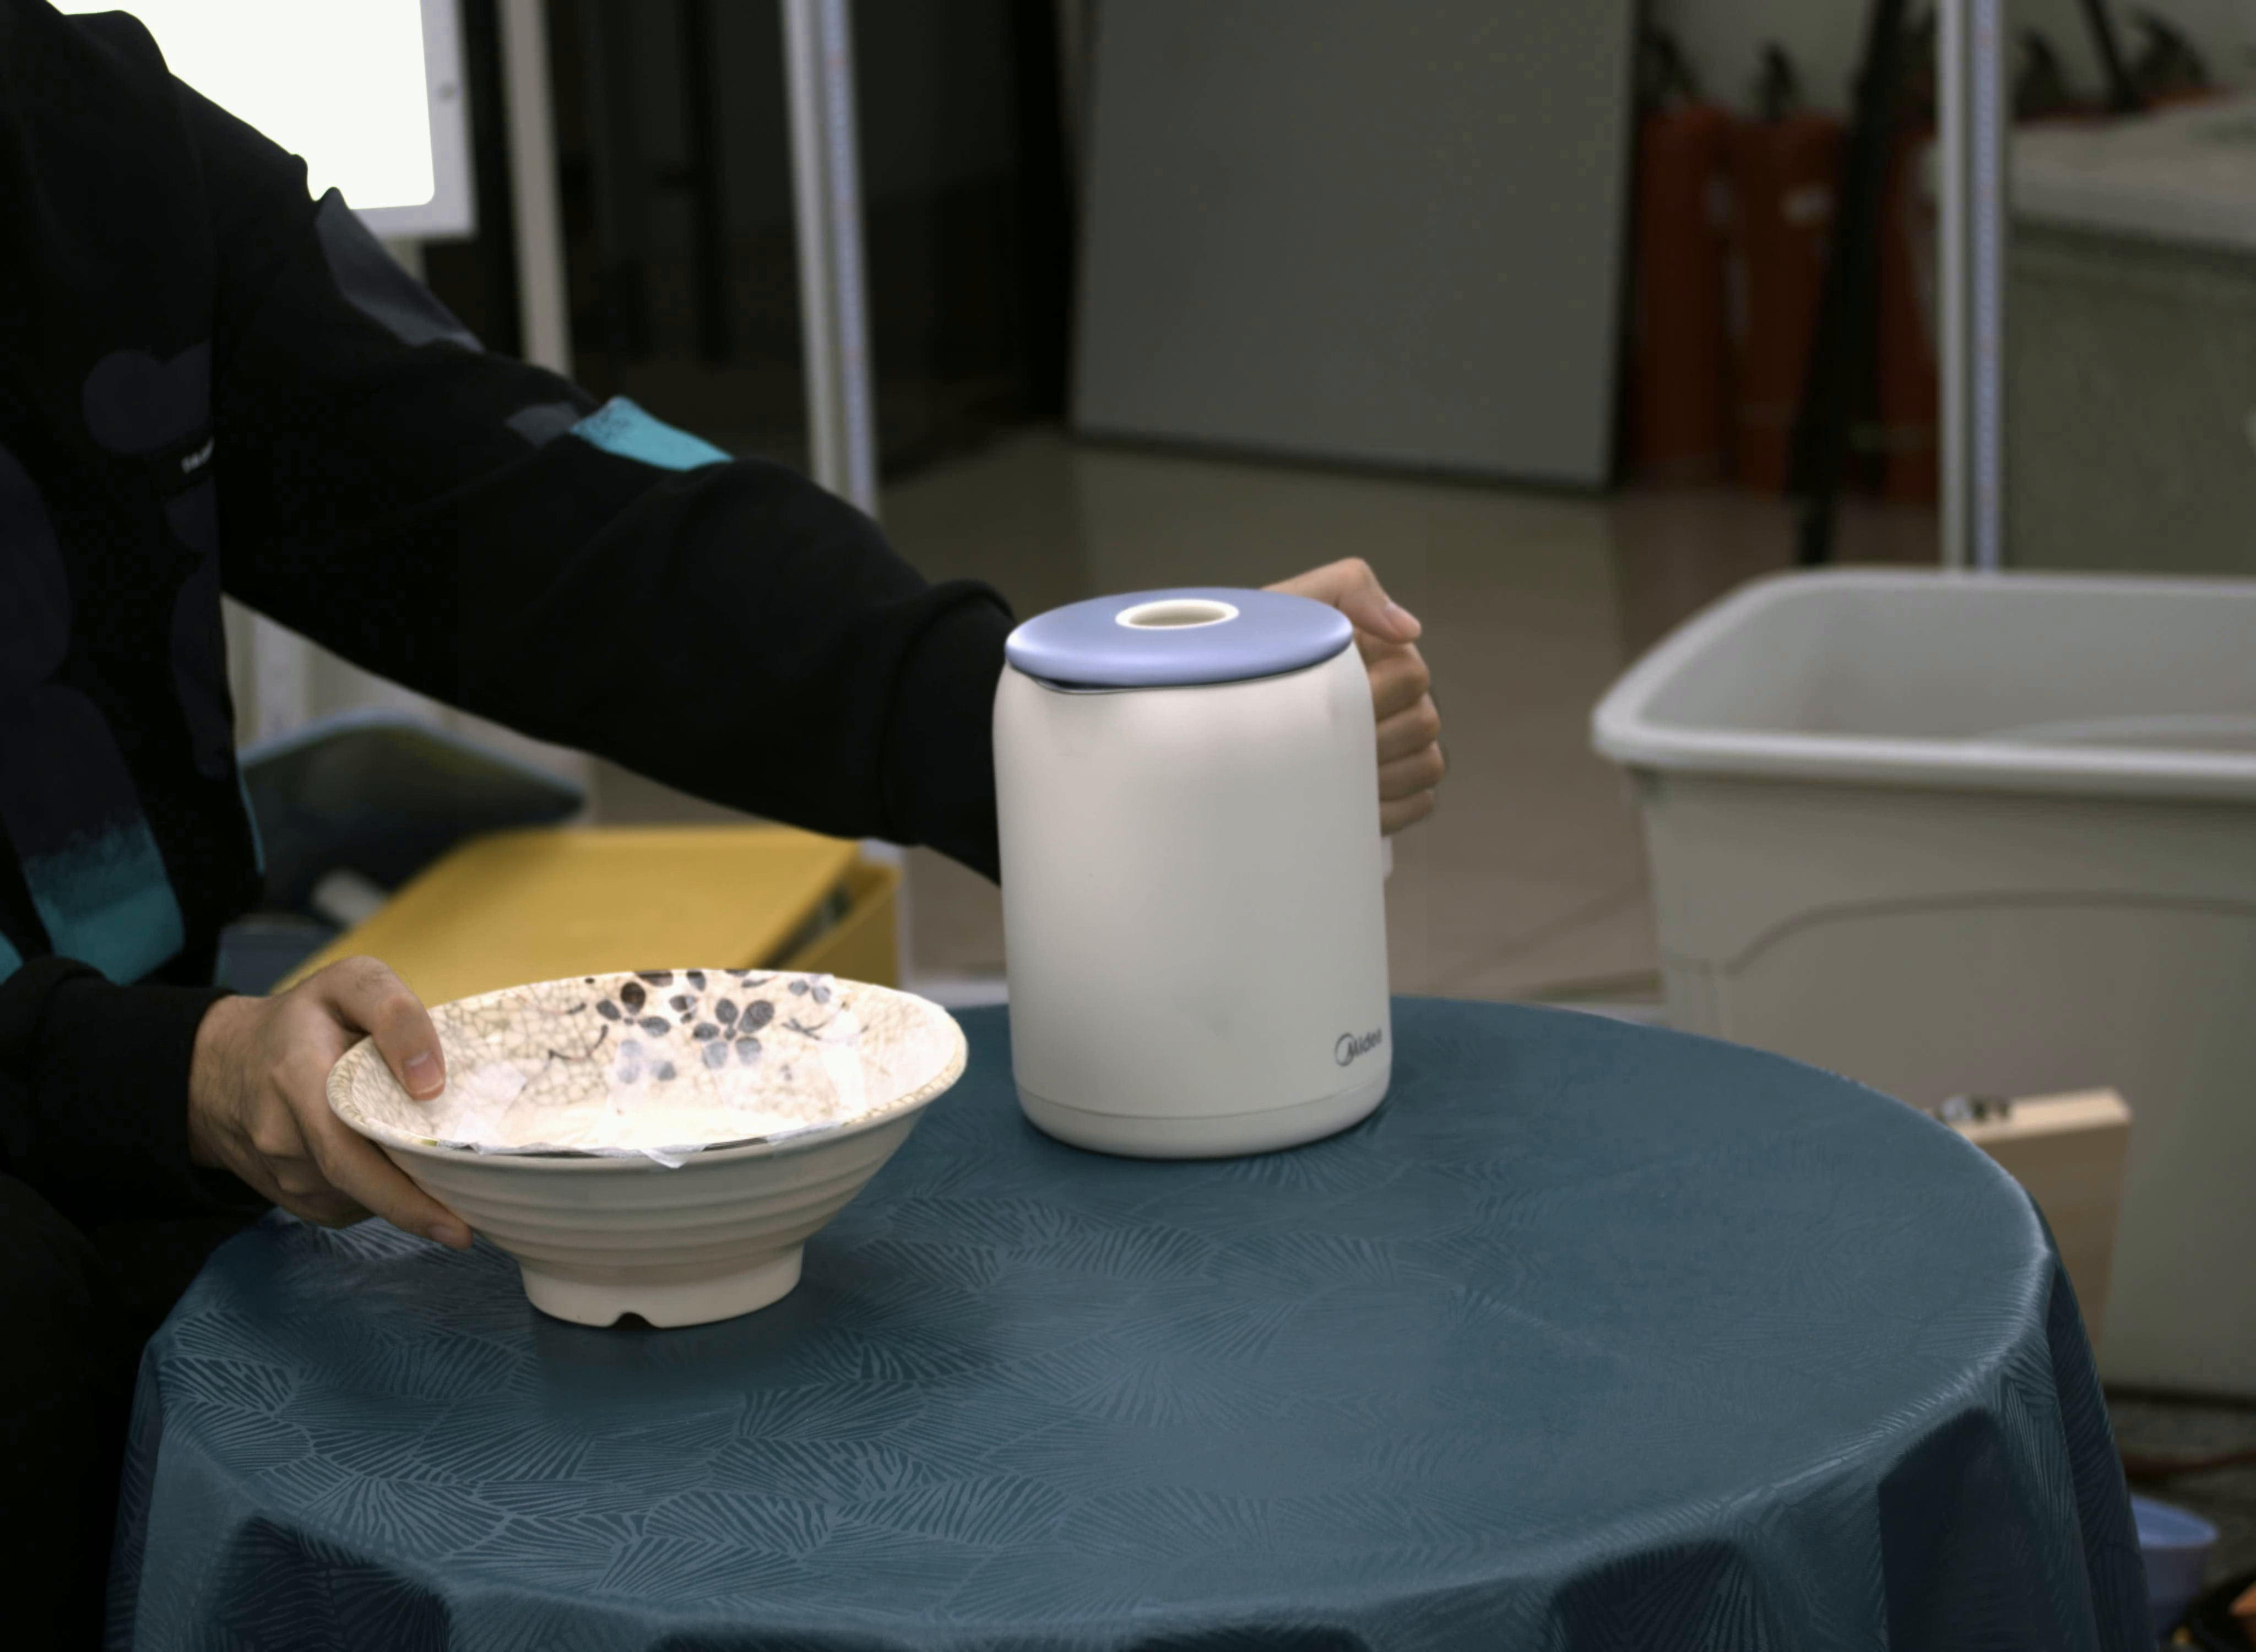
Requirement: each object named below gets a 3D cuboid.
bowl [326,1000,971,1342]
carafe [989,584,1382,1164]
[{"bbox_3d":[-0.146,0.113,1.696,0.201,0.079,0.204,-5,10,0],"label":"bowl"},{"bbox_3d":[0.033,0.010,1.853,0.133,0.184,0.188,6,15,32],"label":"carafe"}]
